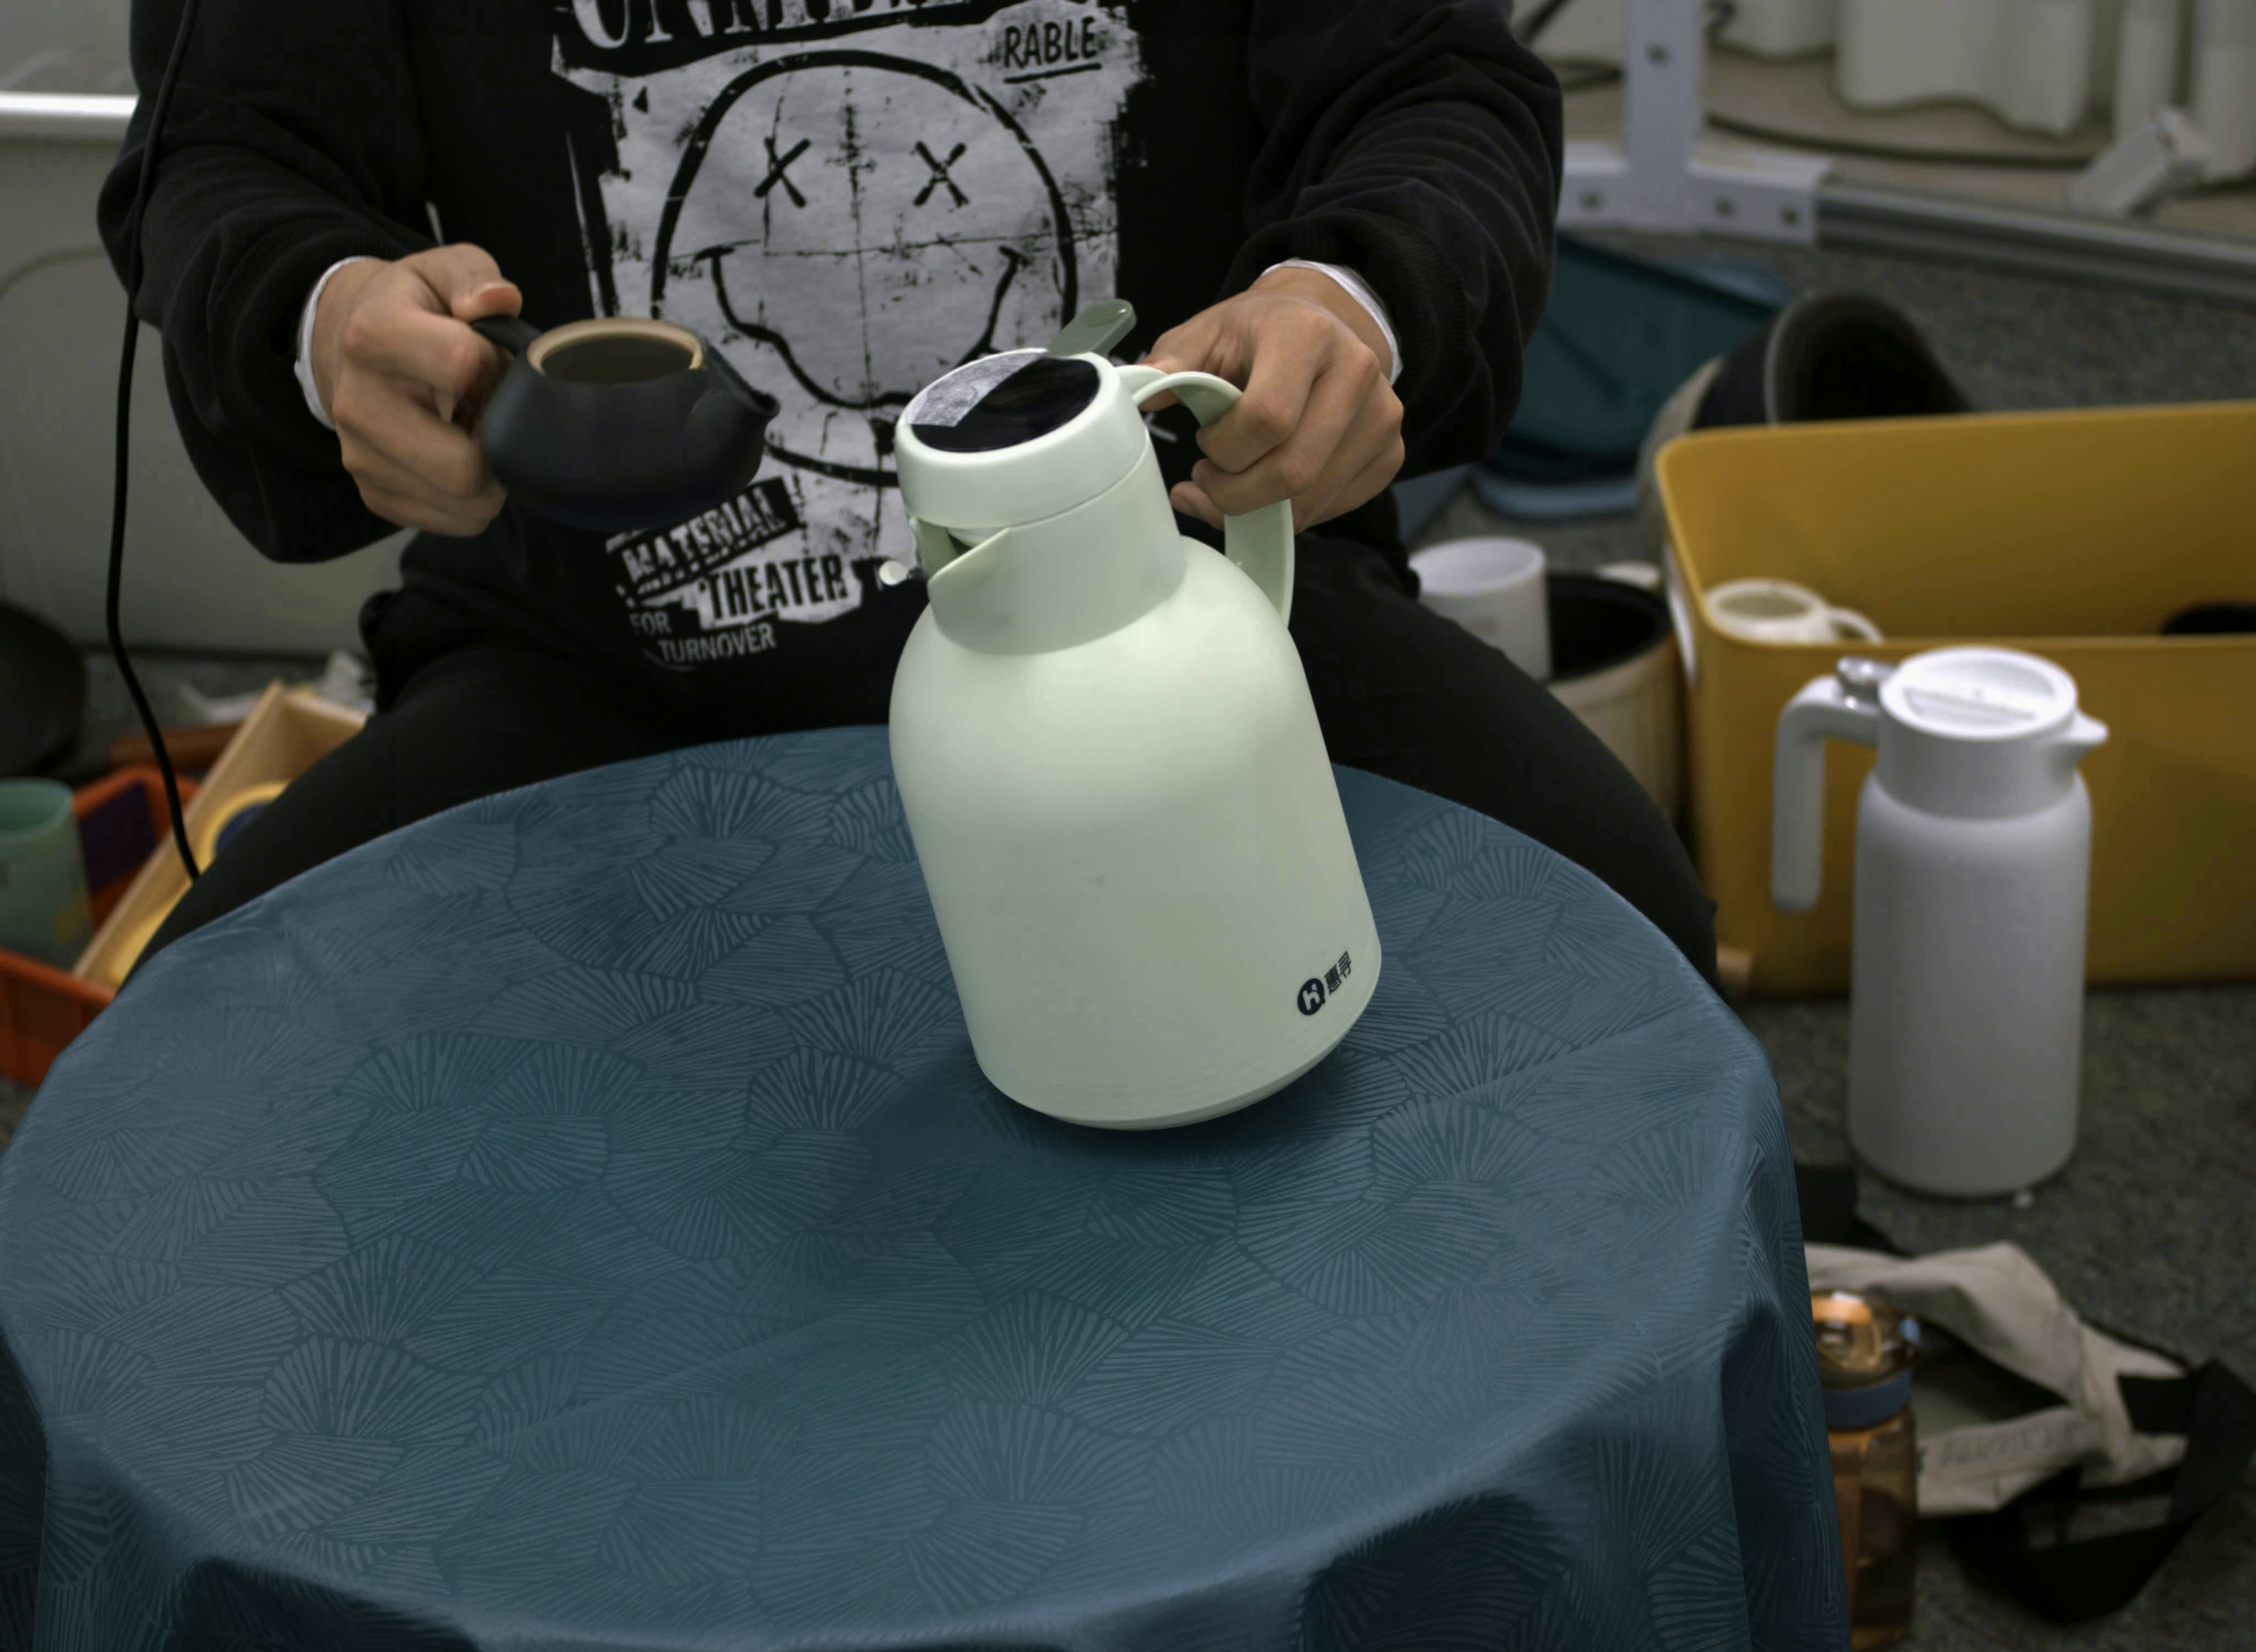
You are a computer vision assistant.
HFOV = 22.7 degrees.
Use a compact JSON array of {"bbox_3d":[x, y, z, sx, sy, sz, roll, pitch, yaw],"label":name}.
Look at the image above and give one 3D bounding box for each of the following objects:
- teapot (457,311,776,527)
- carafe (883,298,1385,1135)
[{"bbox_3d":[-0.166,-0.130,1.820,0.132,0.052,0.092,19,29,32],"label":"teapot"},{"bbox_3d":[-0.001,-0.041,1.882,0.143,0.254,0.190,7,33,36],"label":"carafe"}]
